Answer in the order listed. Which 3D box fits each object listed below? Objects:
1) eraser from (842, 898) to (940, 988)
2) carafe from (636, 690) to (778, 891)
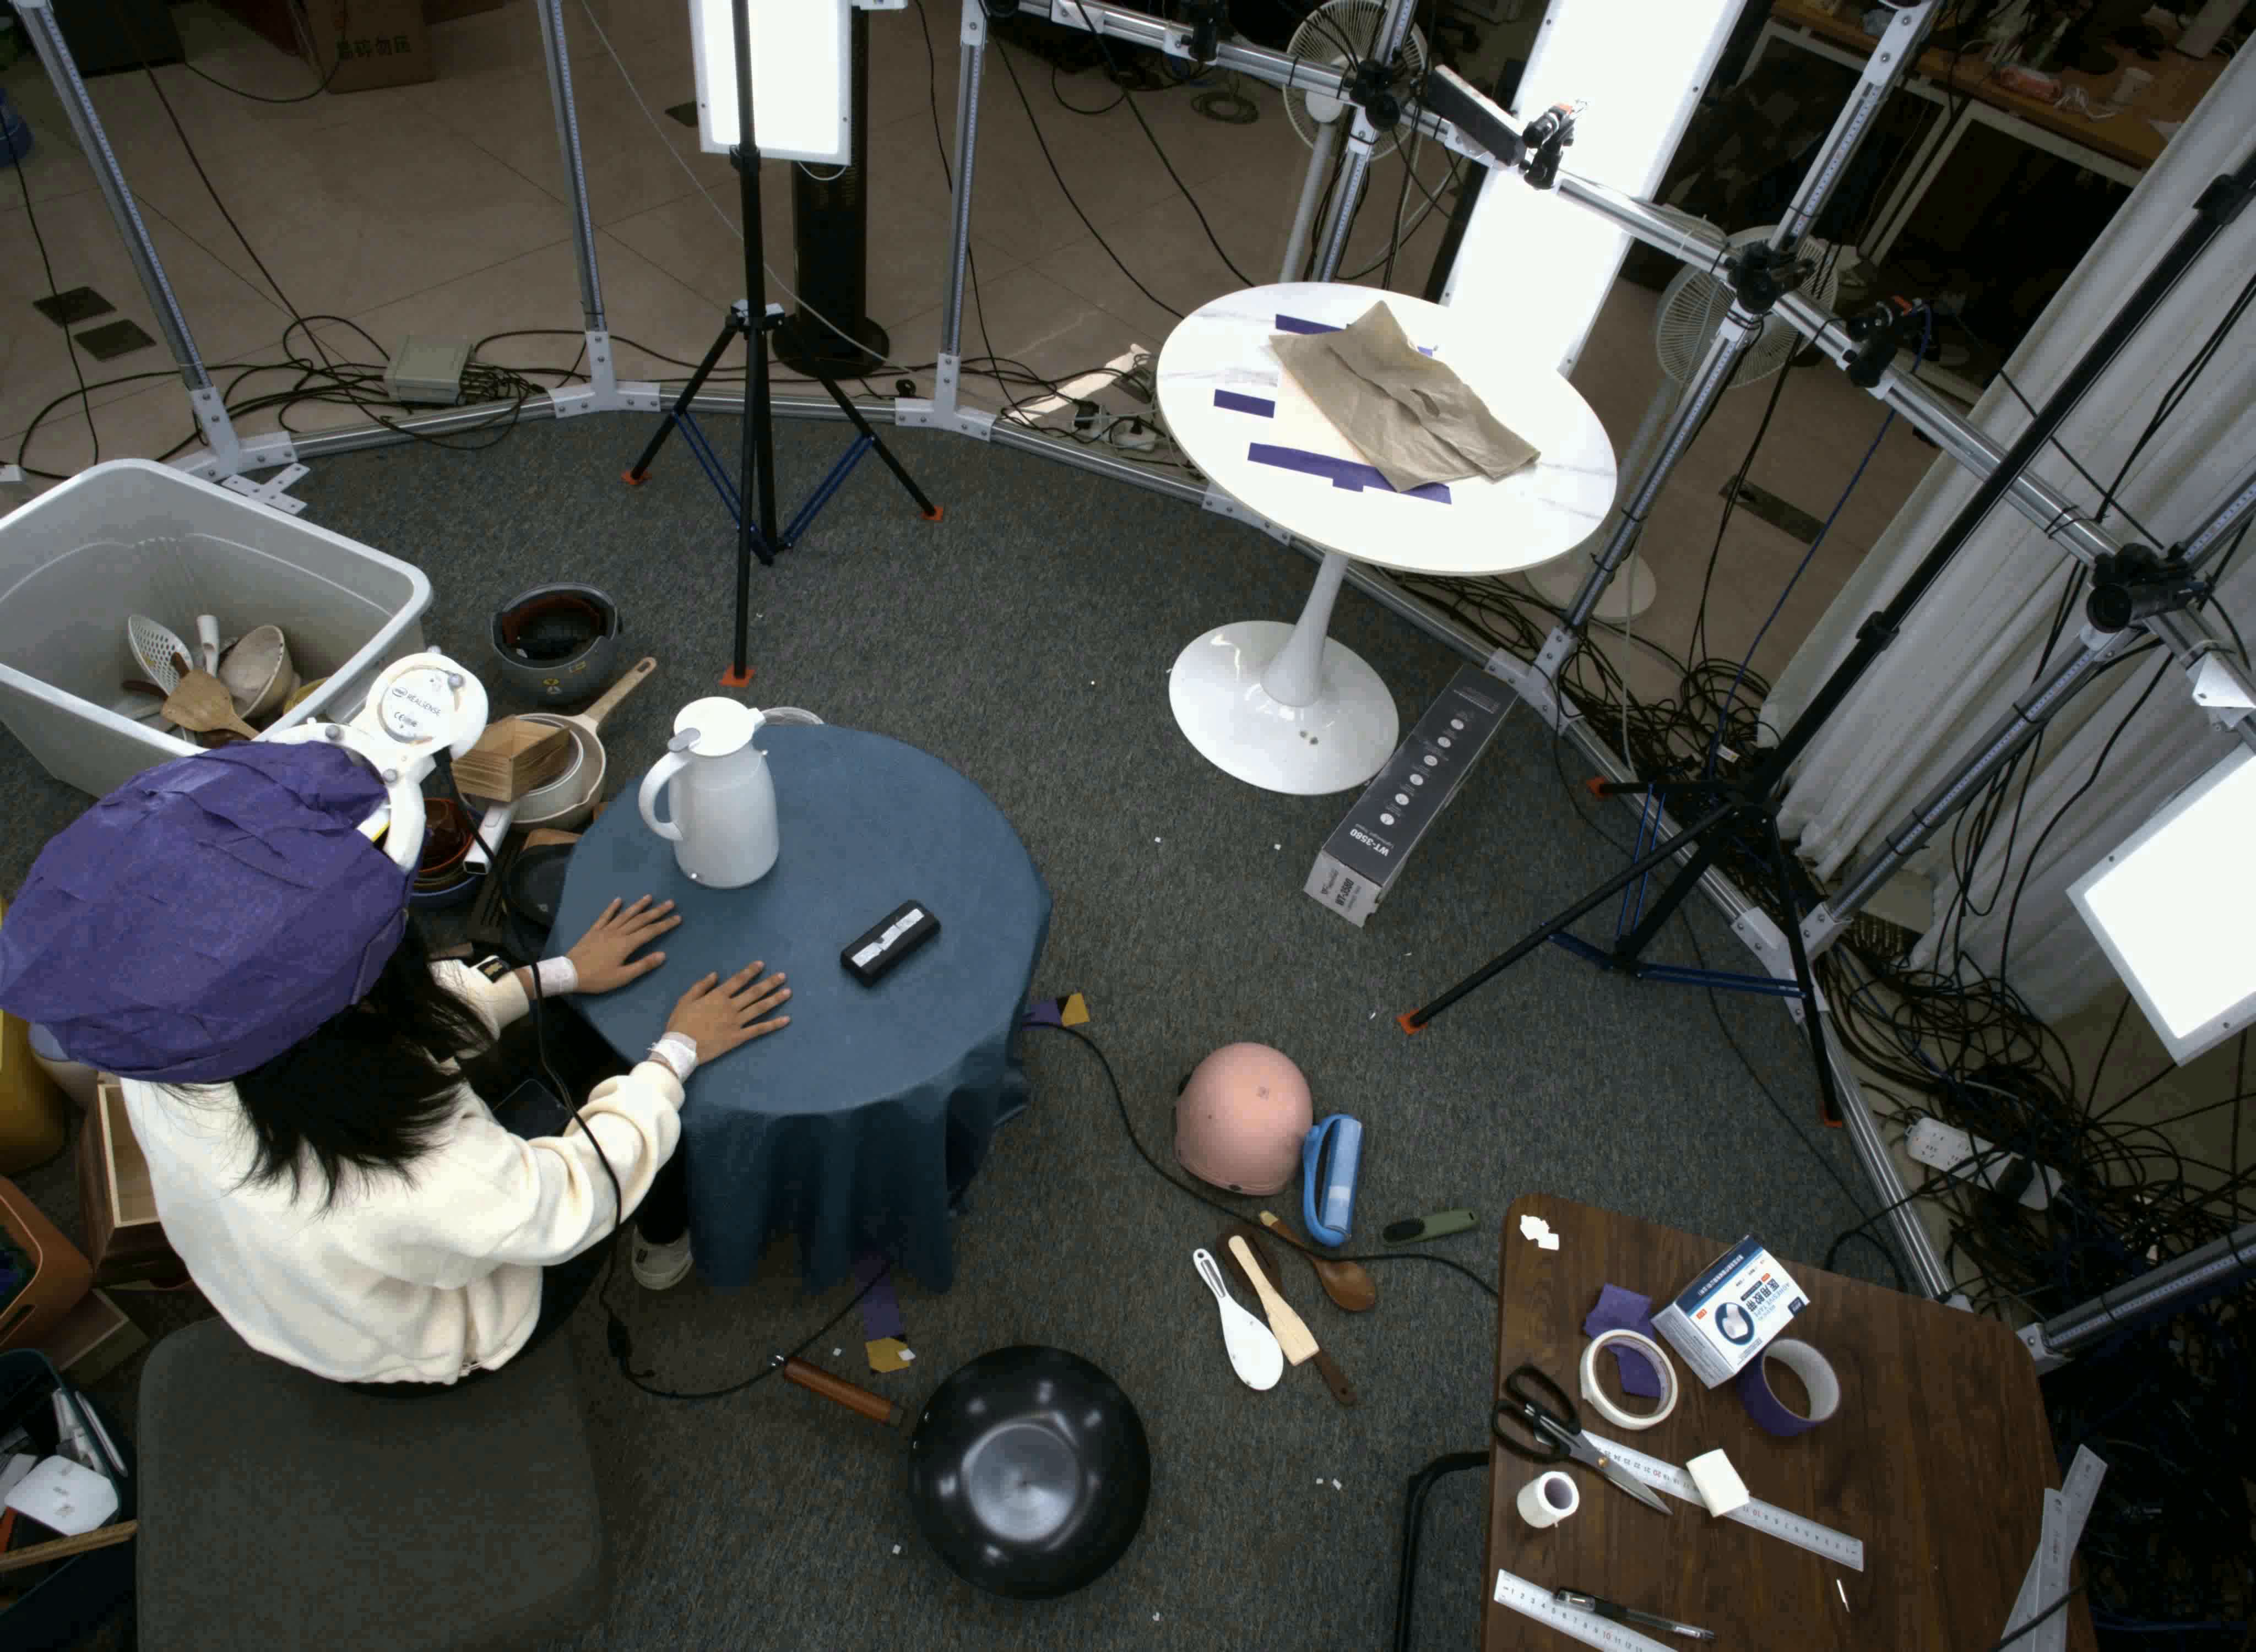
[{"bbox_3d":[-0.296,0.142,1.628,0.052,0.031,0.125,35,53,17],"label":"eraser"},{"bbox_3d":[-0.514,-0.040,1.564,0.168,0.254,0.129,-34,66,-31],"label":"carafe"}]
